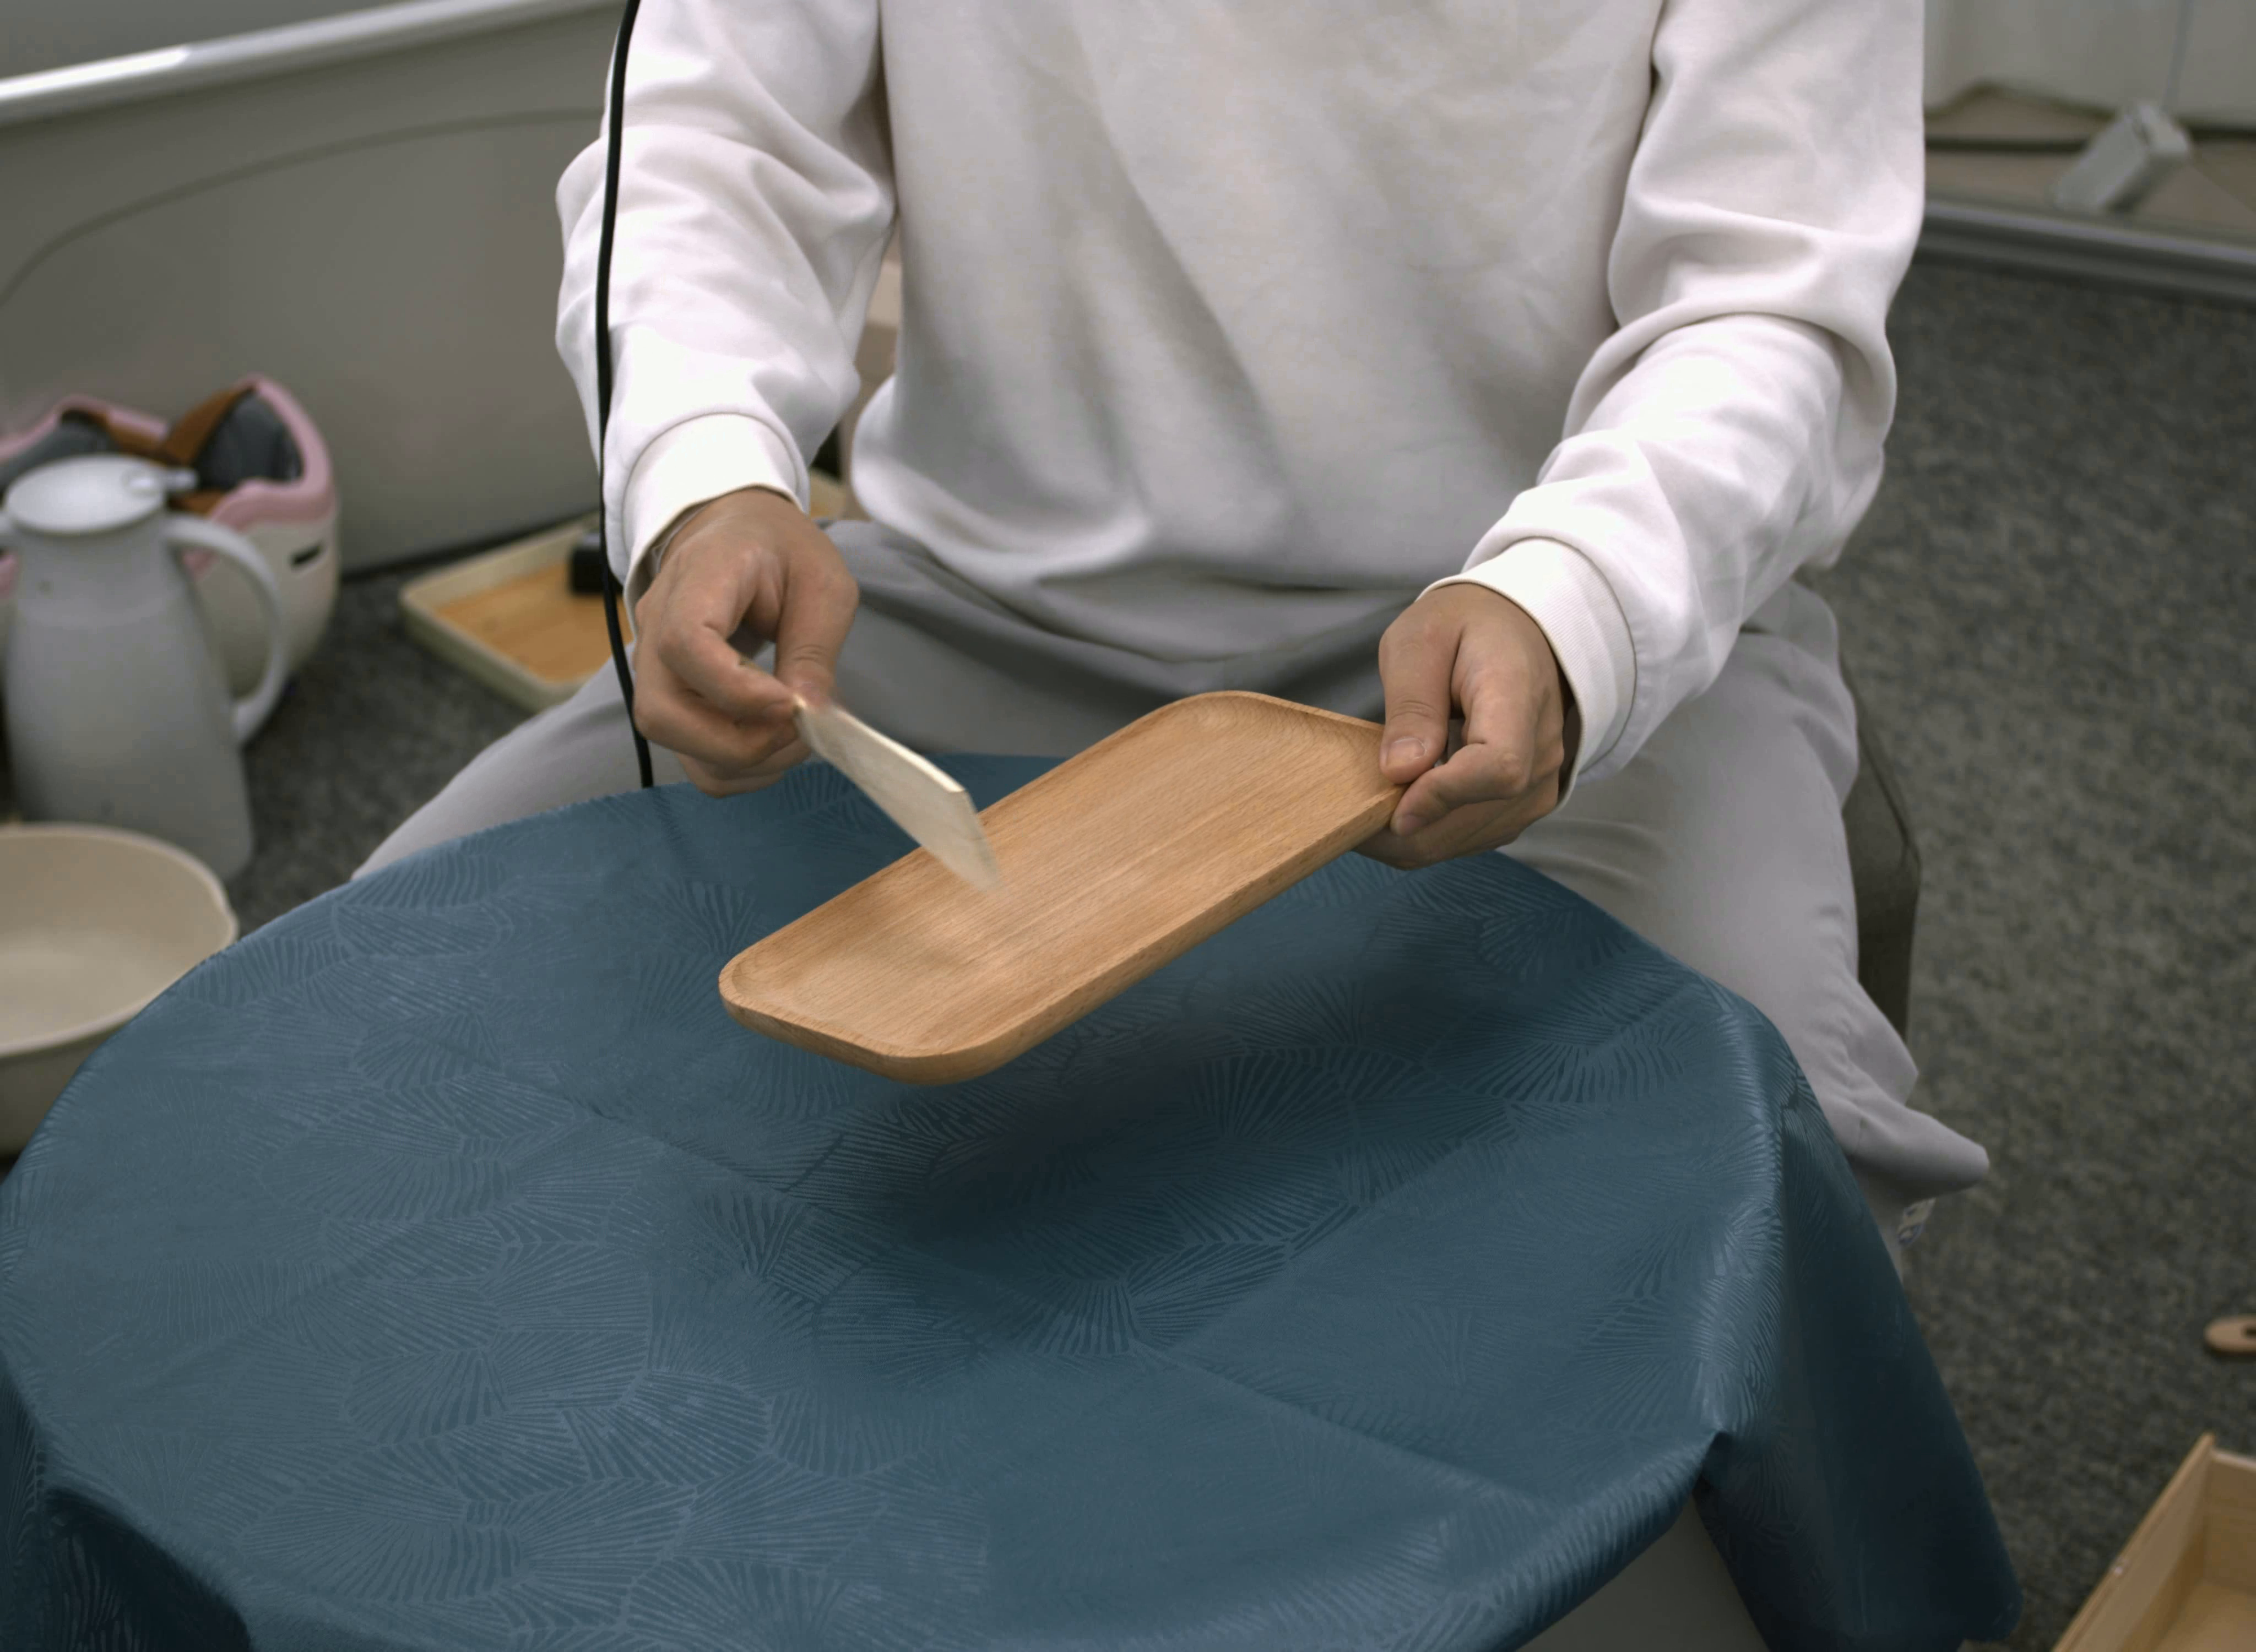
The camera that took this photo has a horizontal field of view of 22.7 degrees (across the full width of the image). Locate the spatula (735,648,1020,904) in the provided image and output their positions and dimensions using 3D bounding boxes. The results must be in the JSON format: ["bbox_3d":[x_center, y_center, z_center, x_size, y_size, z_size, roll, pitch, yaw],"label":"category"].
[{"bbox_3d":[-0.089,-0.023,1.892,0.005,0.050,0.208,-30,29,-16],"label":"spatula"}]

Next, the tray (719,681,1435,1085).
[{"bbox_3d":[-0.015,0.017,1.882,0.130,0.022,0.254,19,38,42],"label":"tray"}]
